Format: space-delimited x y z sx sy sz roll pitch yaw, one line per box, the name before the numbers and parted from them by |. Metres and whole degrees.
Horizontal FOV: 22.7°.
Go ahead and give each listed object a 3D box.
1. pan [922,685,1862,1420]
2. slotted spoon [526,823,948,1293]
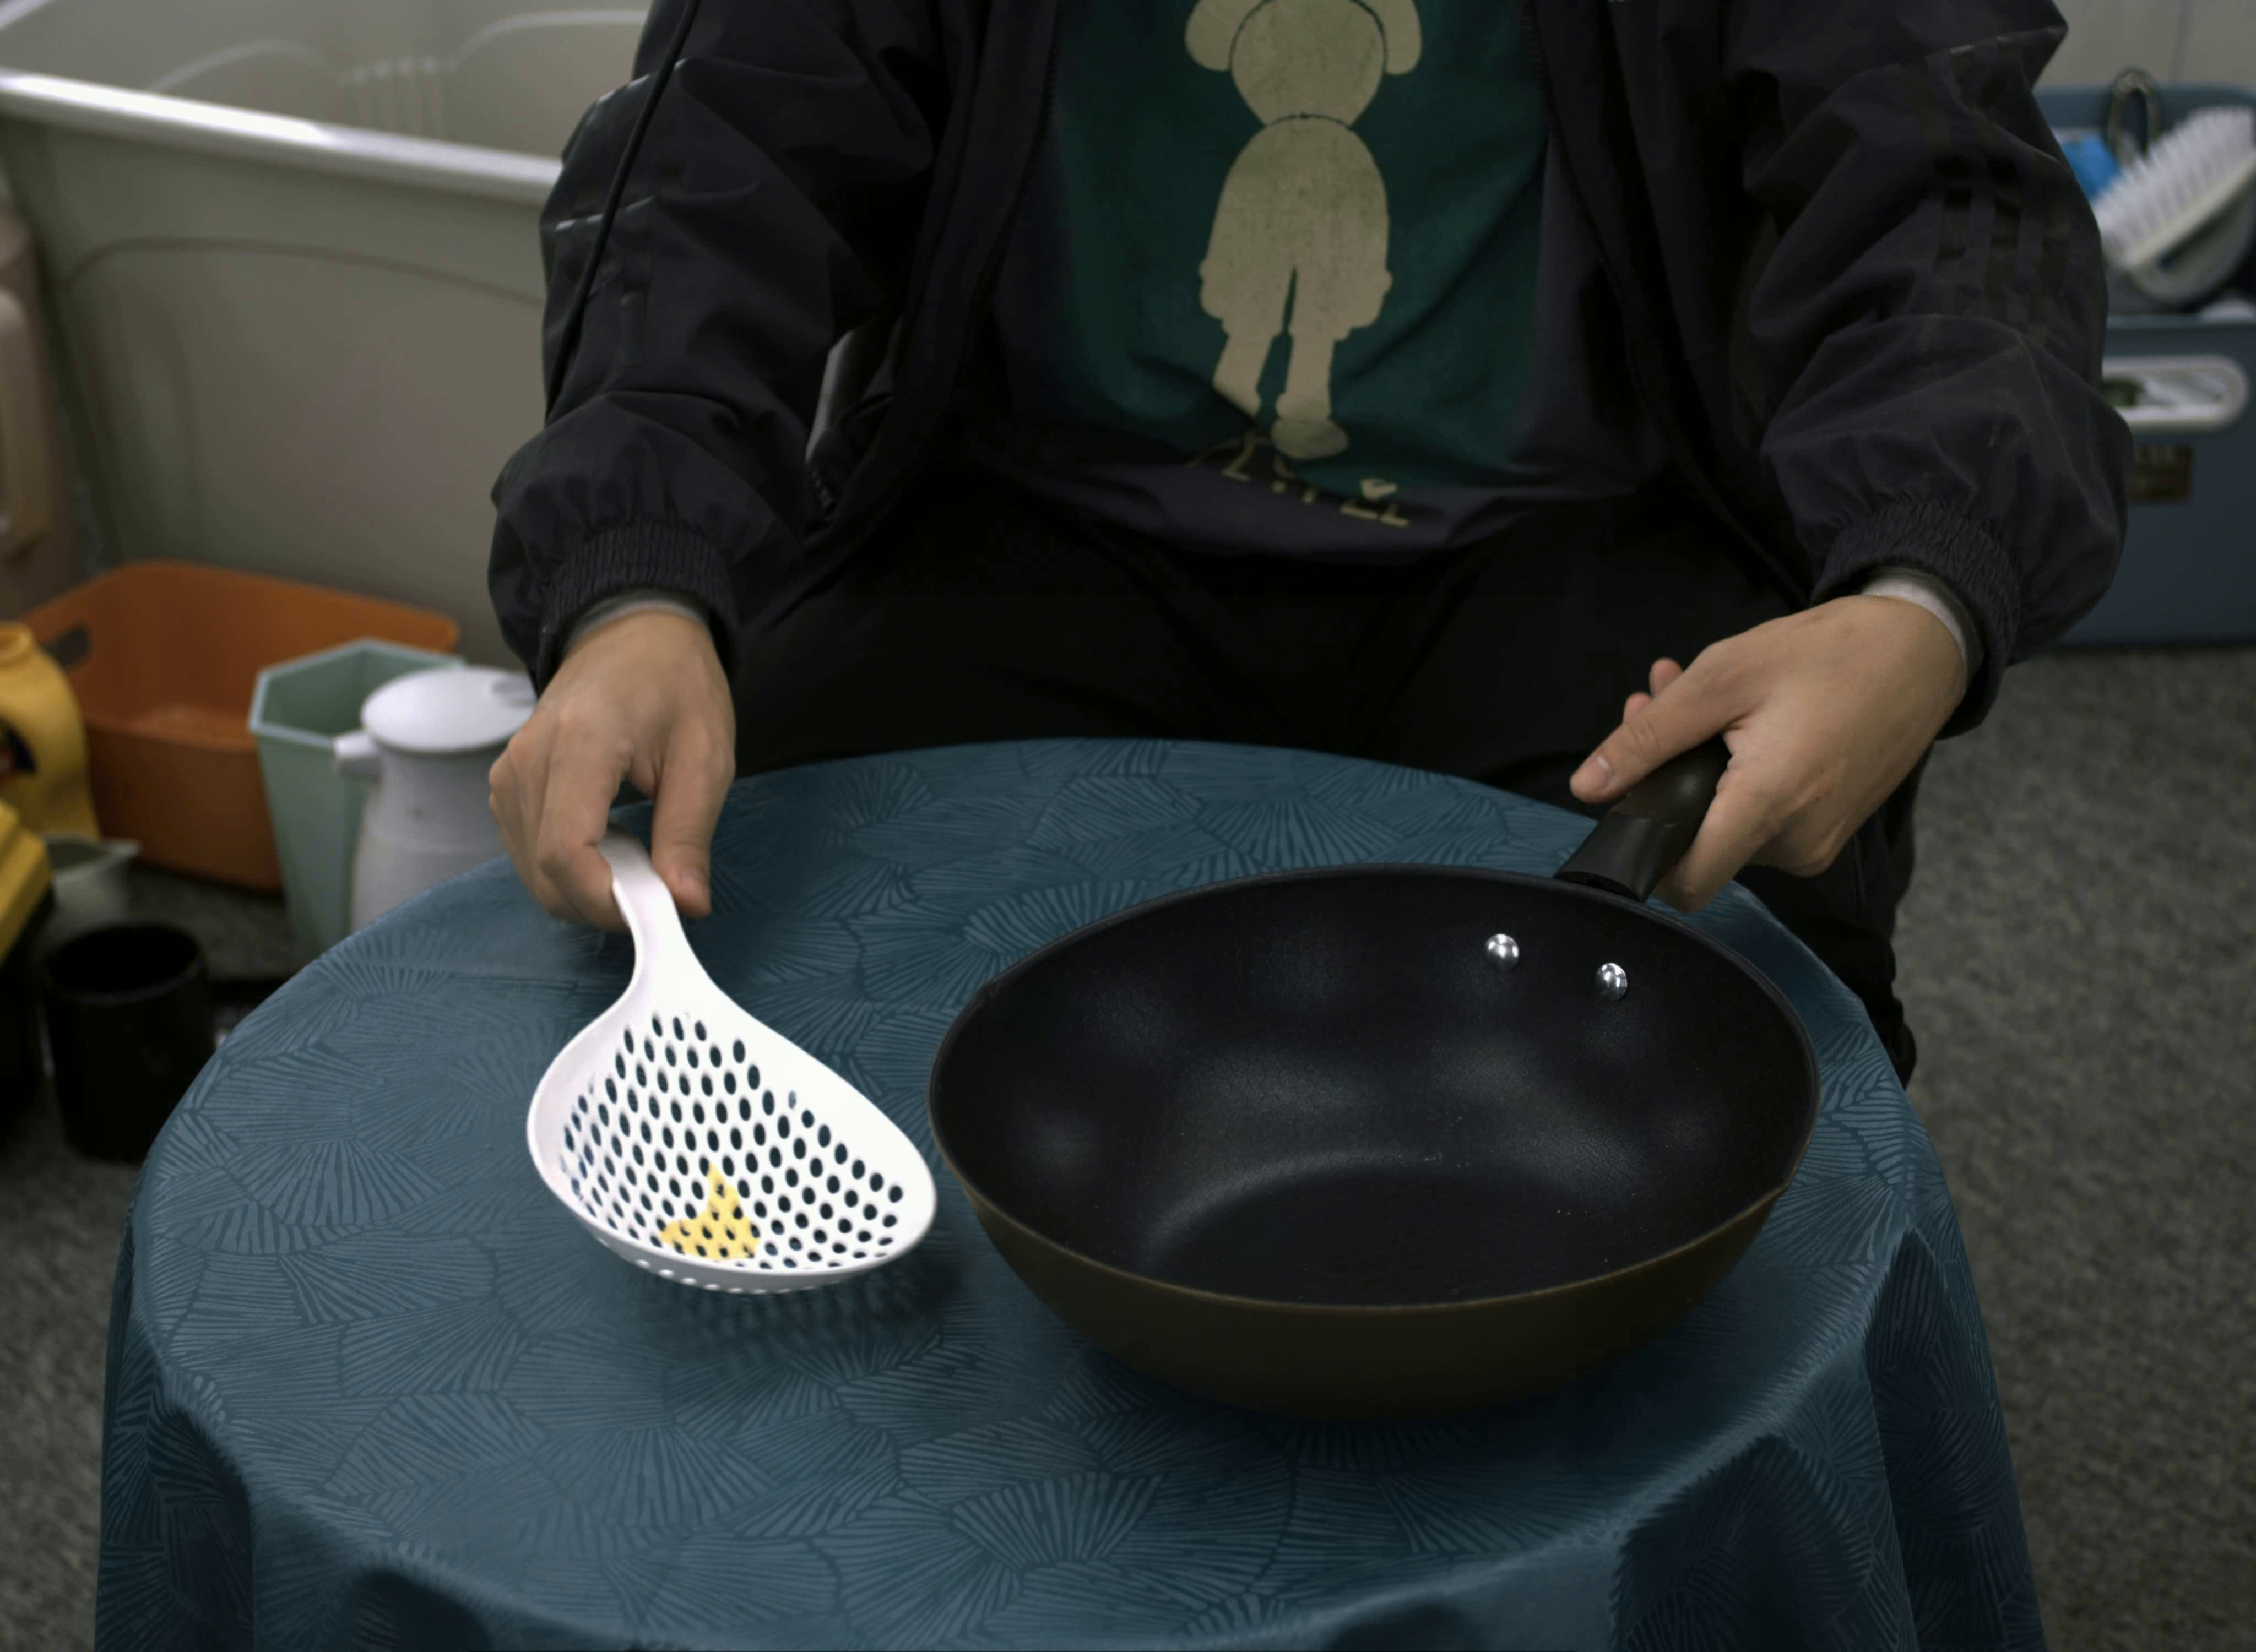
pan | 0.124 0.073 1.851 0.286 0.086 0.470 14 30 28
slotted spoon | -0.156 0.068 1.911 0.137 0.050 0.352 3 29 -18
